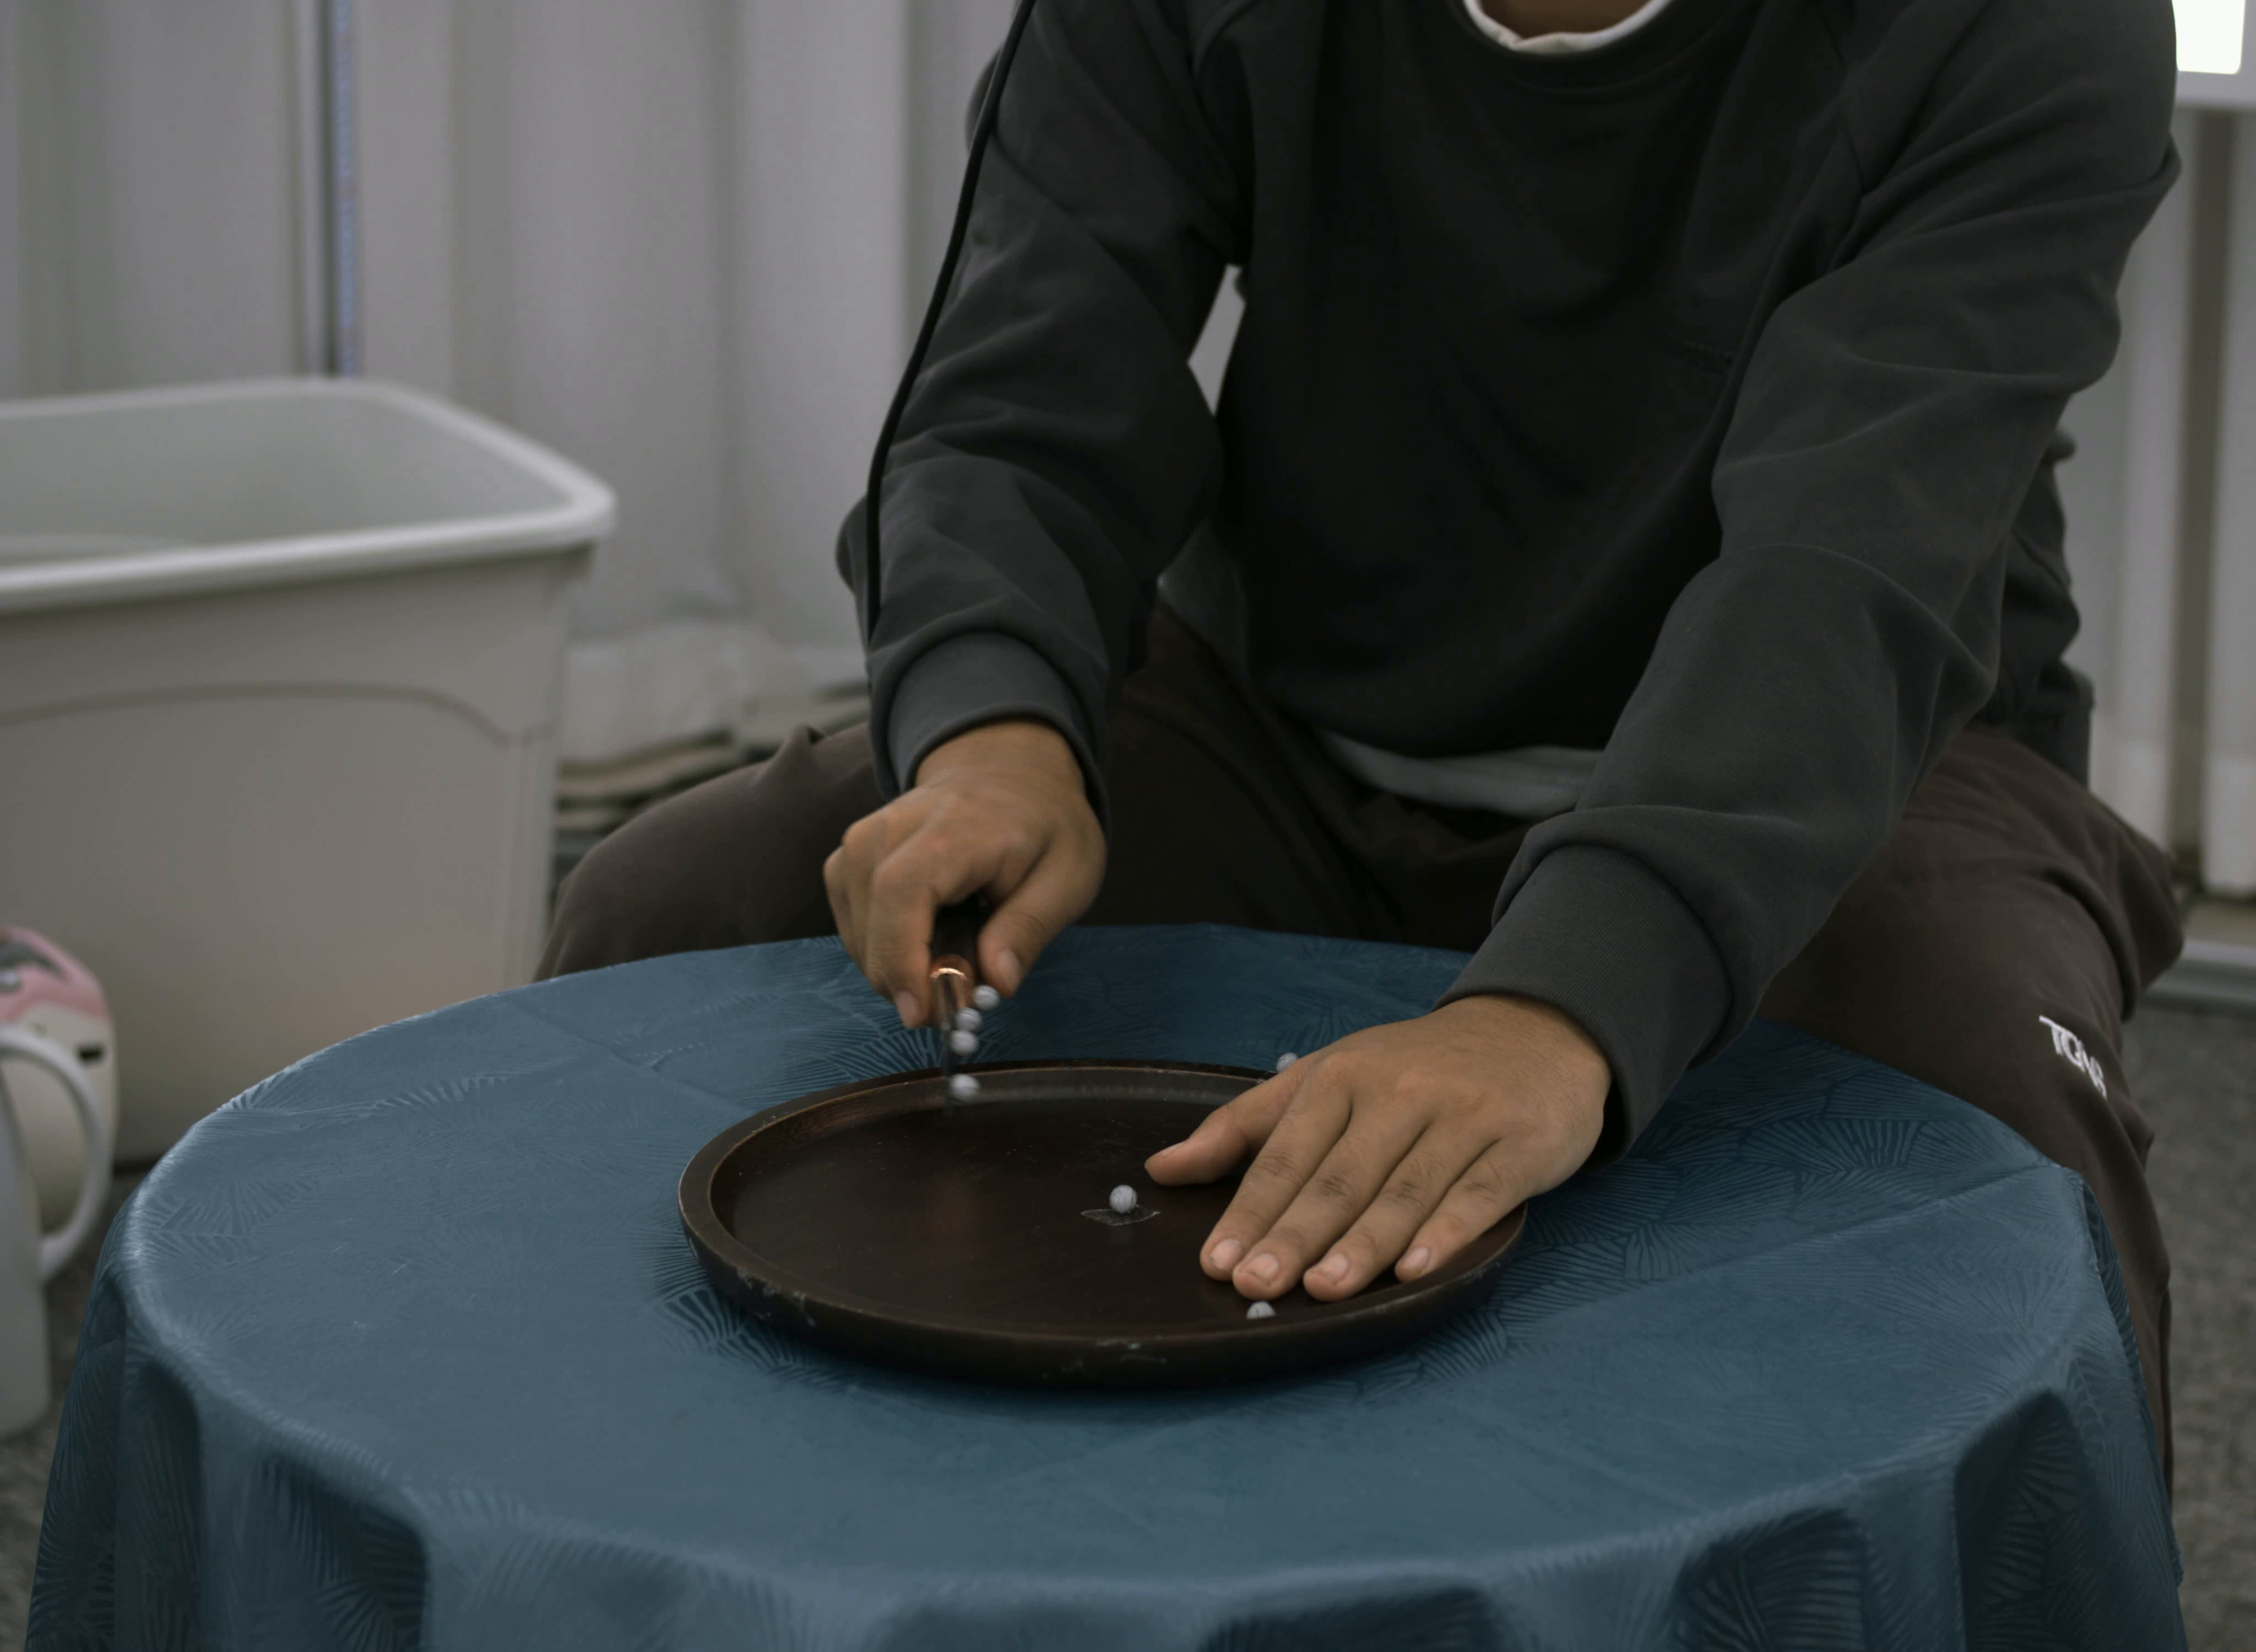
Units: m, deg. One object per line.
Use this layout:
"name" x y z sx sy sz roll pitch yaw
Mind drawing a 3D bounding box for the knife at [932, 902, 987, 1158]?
"knife" -0.052 0.061 1.641 0.017 0.026 0.224 -5 15 -1

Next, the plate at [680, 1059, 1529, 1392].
"plate" -0.007 0.116 1.568 0.254 0.029 0.253 0 14 0
